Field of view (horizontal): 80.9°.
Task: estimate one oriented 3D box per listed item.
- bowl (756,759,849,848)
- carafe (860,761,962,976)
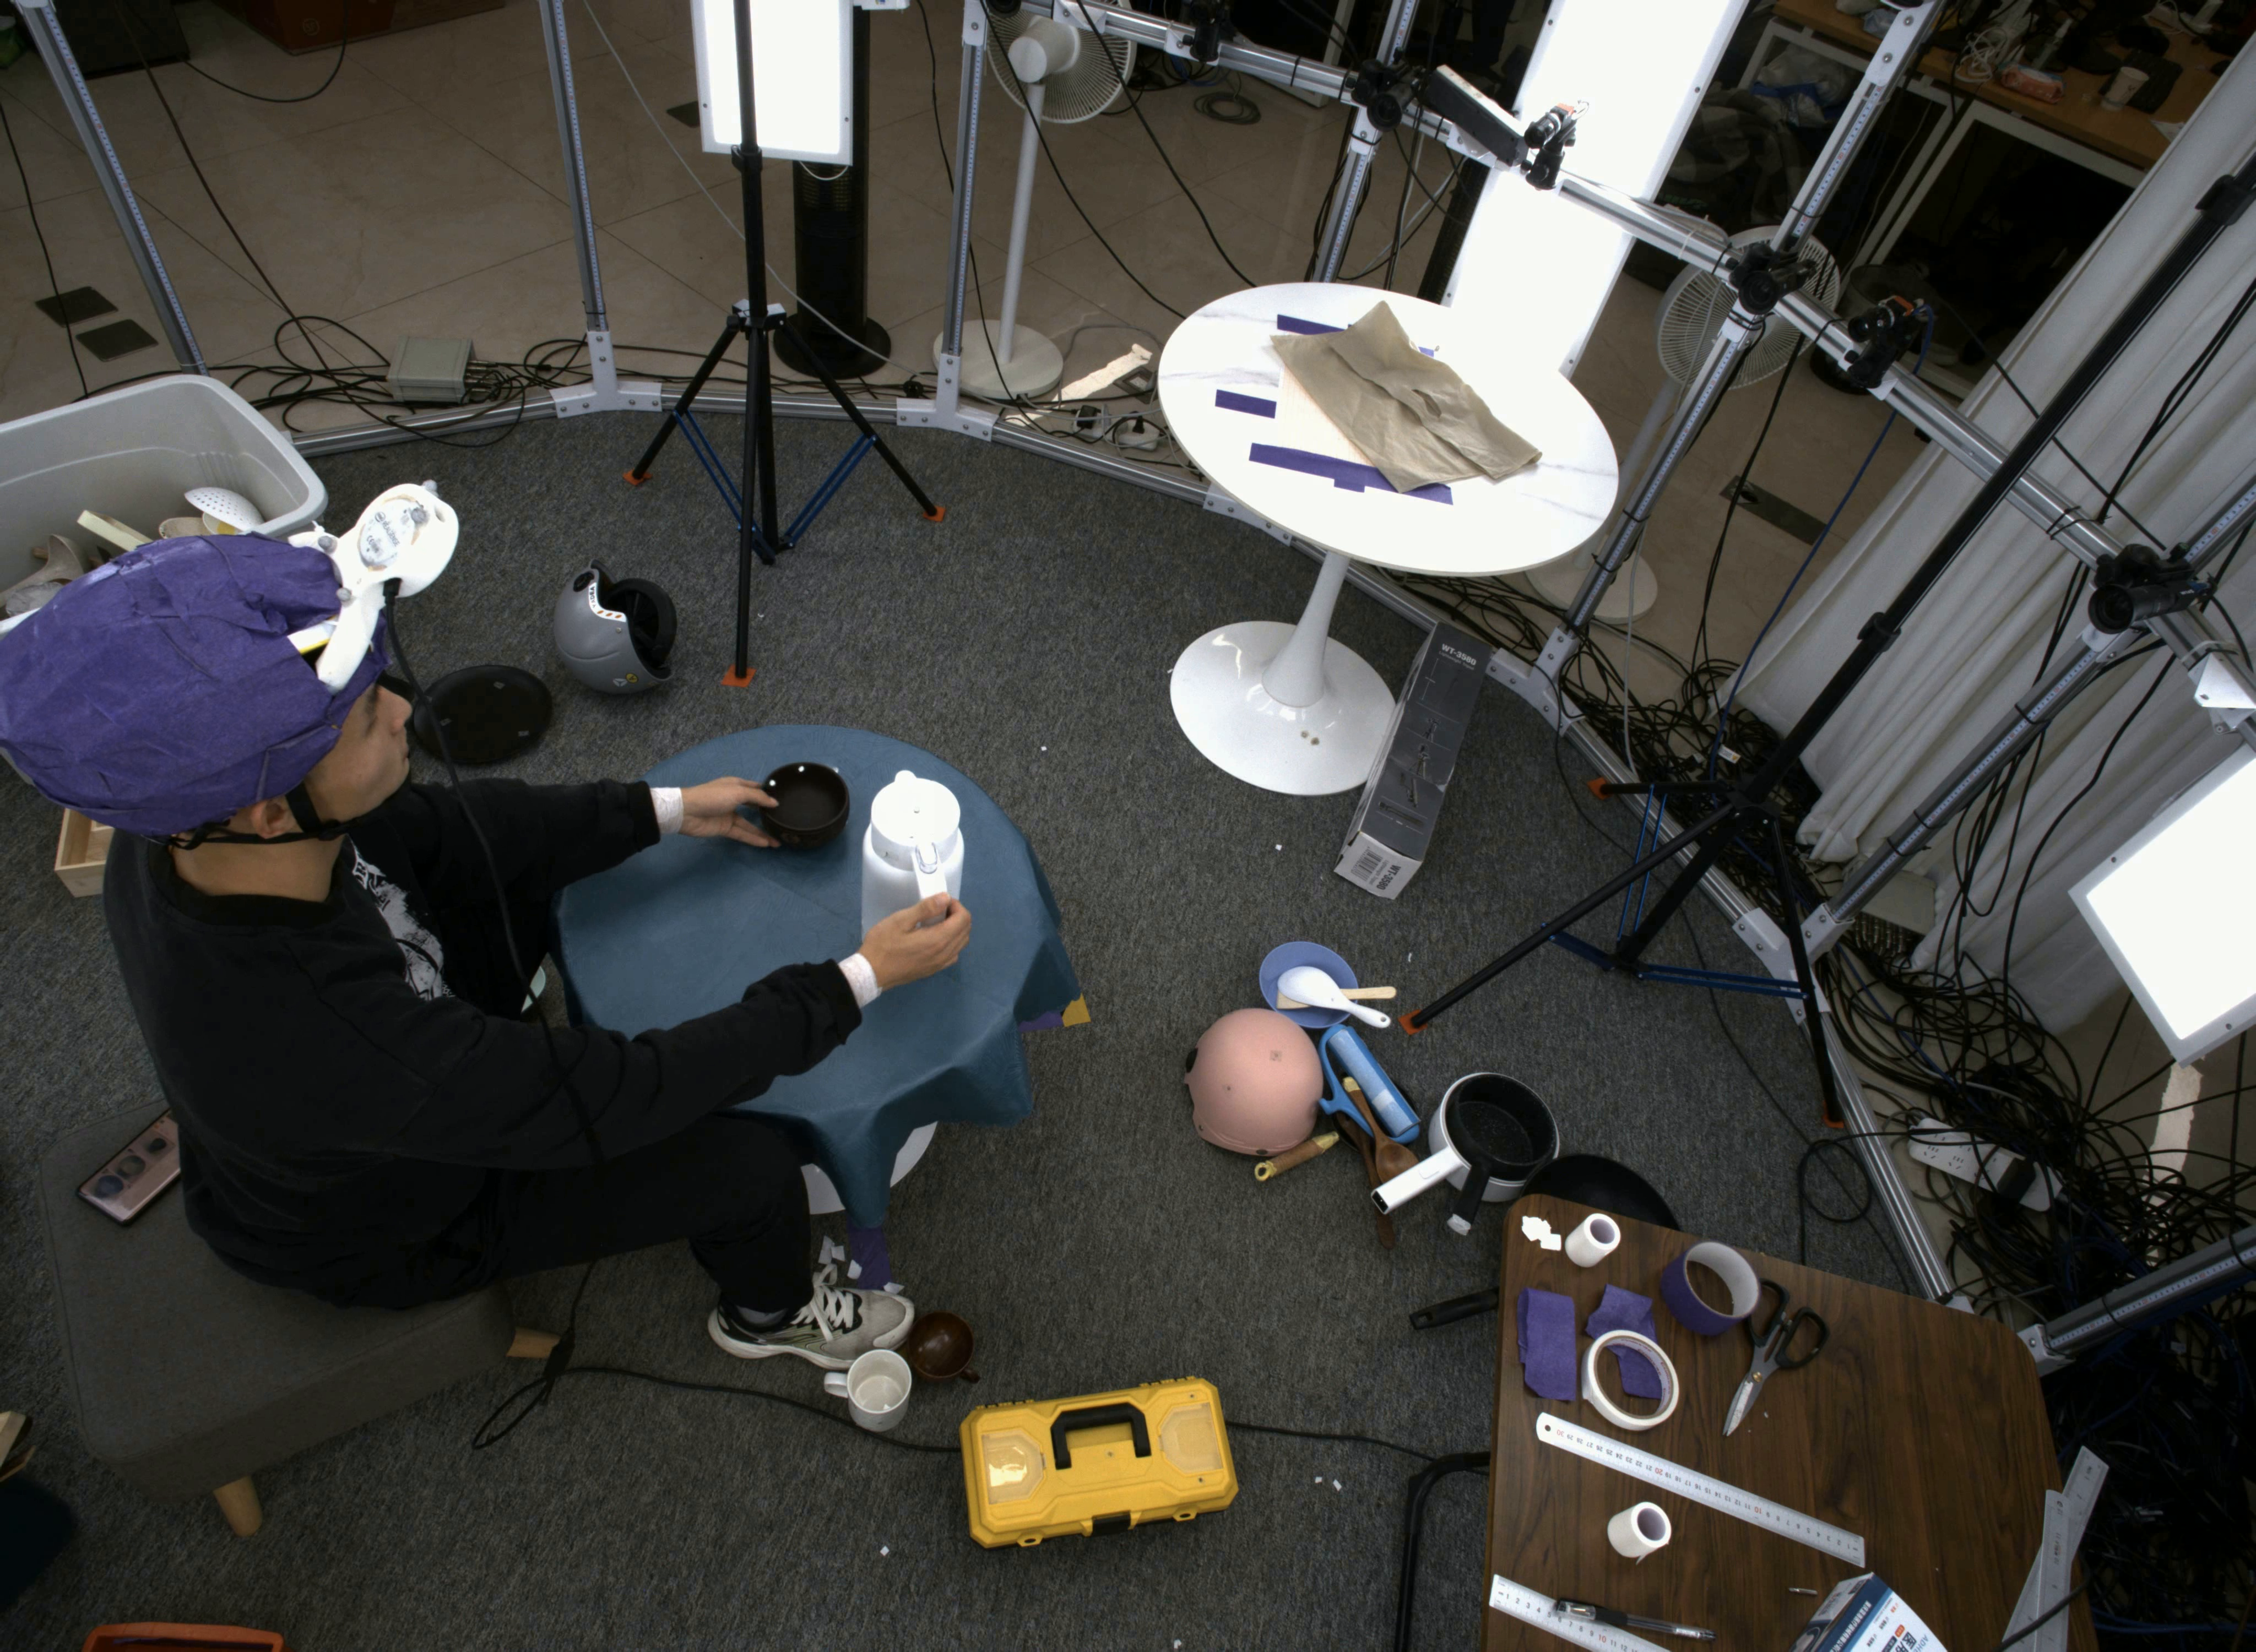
[{"bbox_3d":[-0.424,-0.022,1.690,0.118,0.071,0.116,7,53,-8],"label":"bowl"},{"bbox_3d":[-0.252,0.072,1.539,0.124,0.274,0.168,-9,55,-21],"label":"carafe"}]
